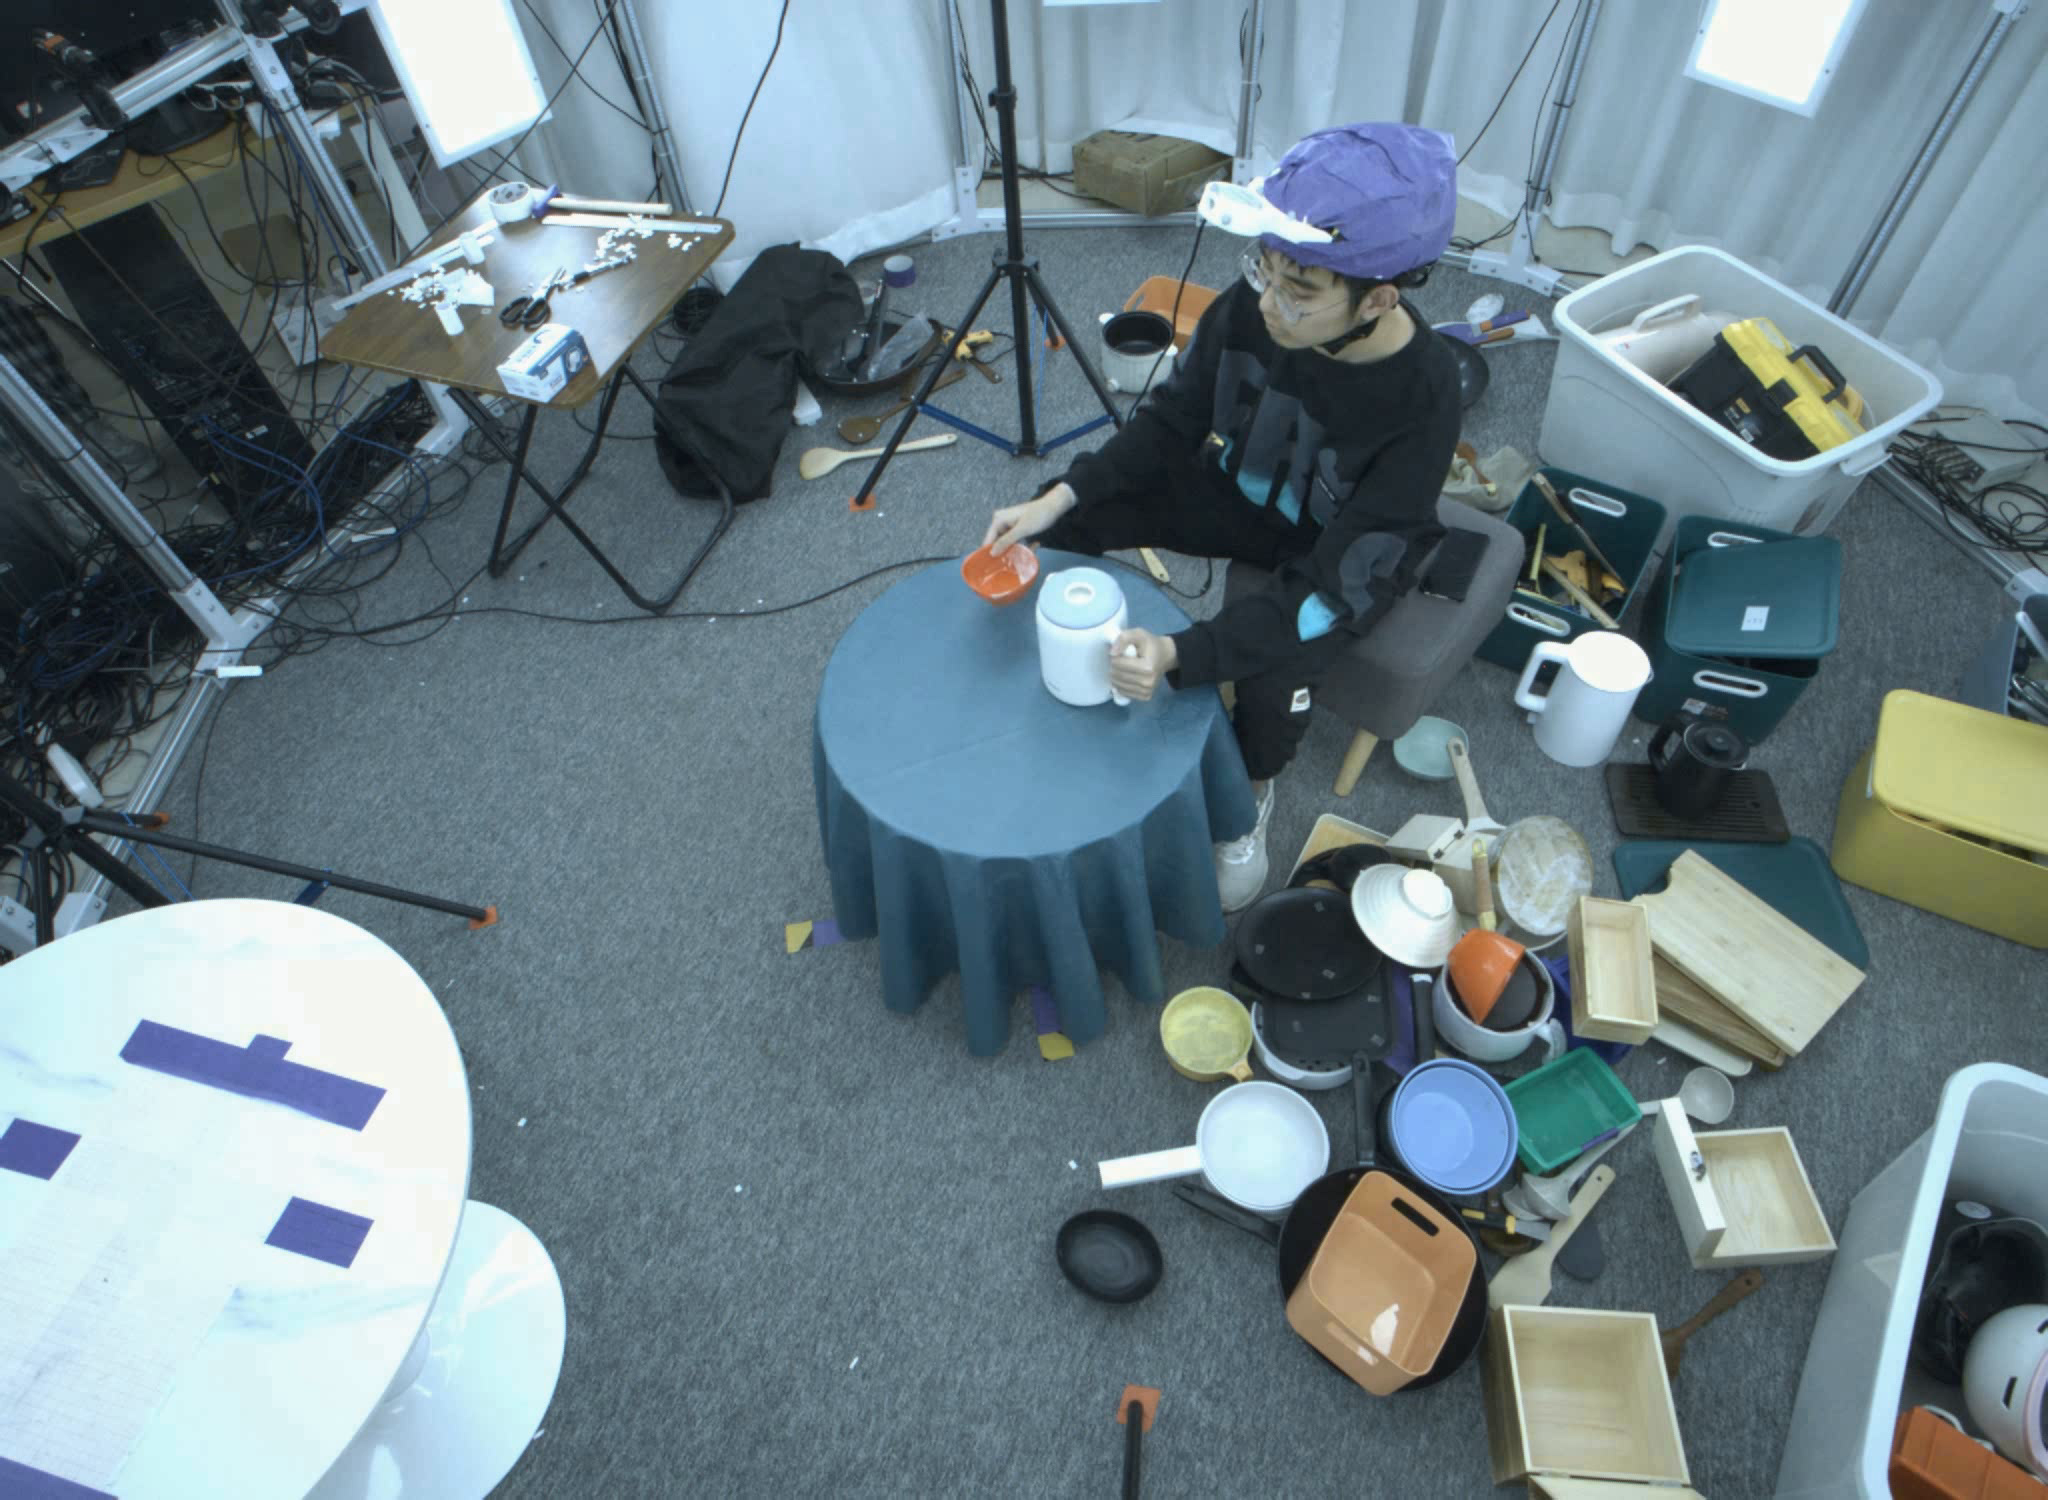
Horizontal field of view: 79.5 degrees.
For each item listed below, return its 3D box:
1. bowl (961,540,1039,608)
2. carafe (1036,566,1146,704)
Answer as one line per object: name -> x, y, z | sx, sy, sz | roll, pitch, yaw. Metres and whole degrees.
bowl -> -0.033, -0.260, 1.861 | 0.118, 0.052, 0.117 | -4, 53, 7
carafe -> 0.103, -0.152, 1.780 | 0.133, 0.184, 0.187 | -39, 62, -20
